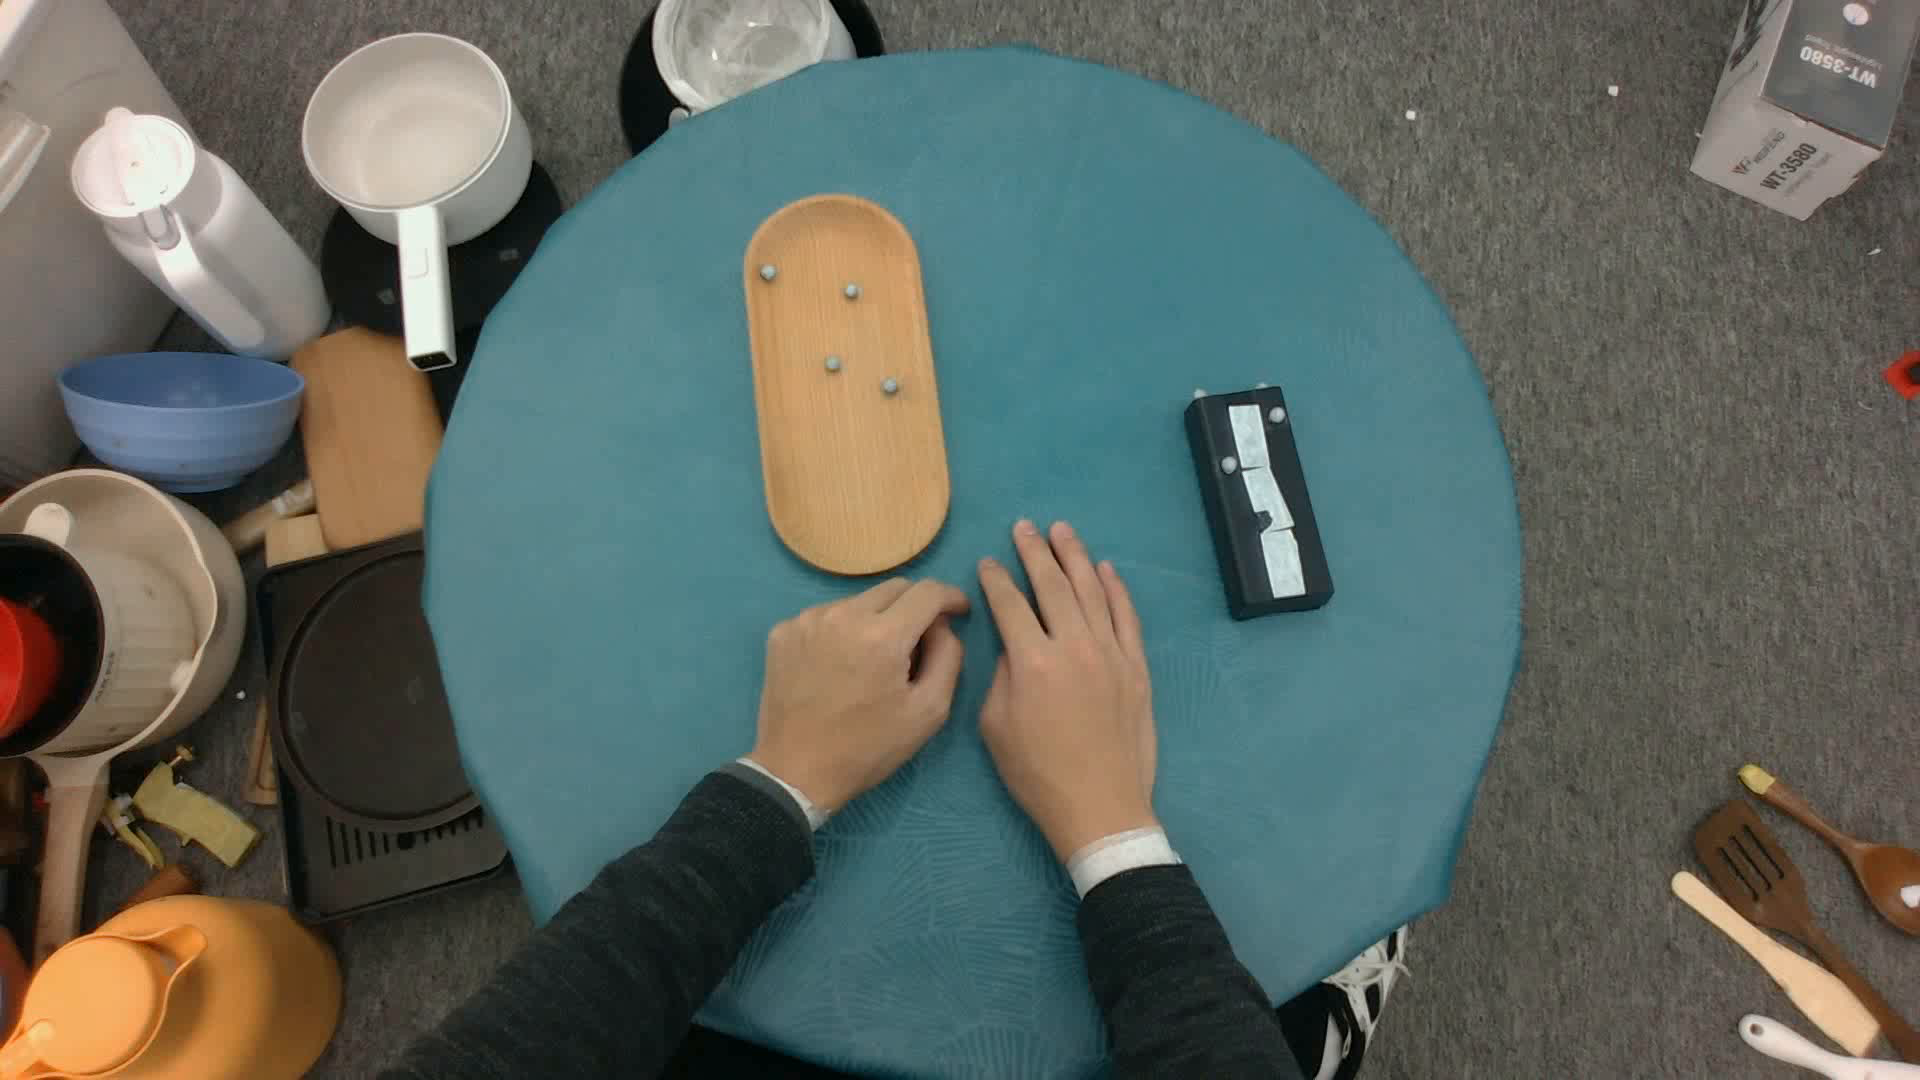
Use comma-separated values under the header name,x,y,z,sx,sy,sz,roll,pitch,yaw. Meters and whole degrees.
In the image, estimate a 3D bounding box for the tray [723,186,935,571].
name,x,y,z,sx,sy,sz,roll,pitch,yaw
tray,-0.074,-0.093,0.768,0.102,0.020,0.231,-8,74,-4

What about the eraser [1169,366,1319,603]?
name,x,y,z,sx,sy,sz,roll,pitch,yaw
eraser,0.153,-0.030,0.755,0.053,0.030,0.126,-10,74,-4
